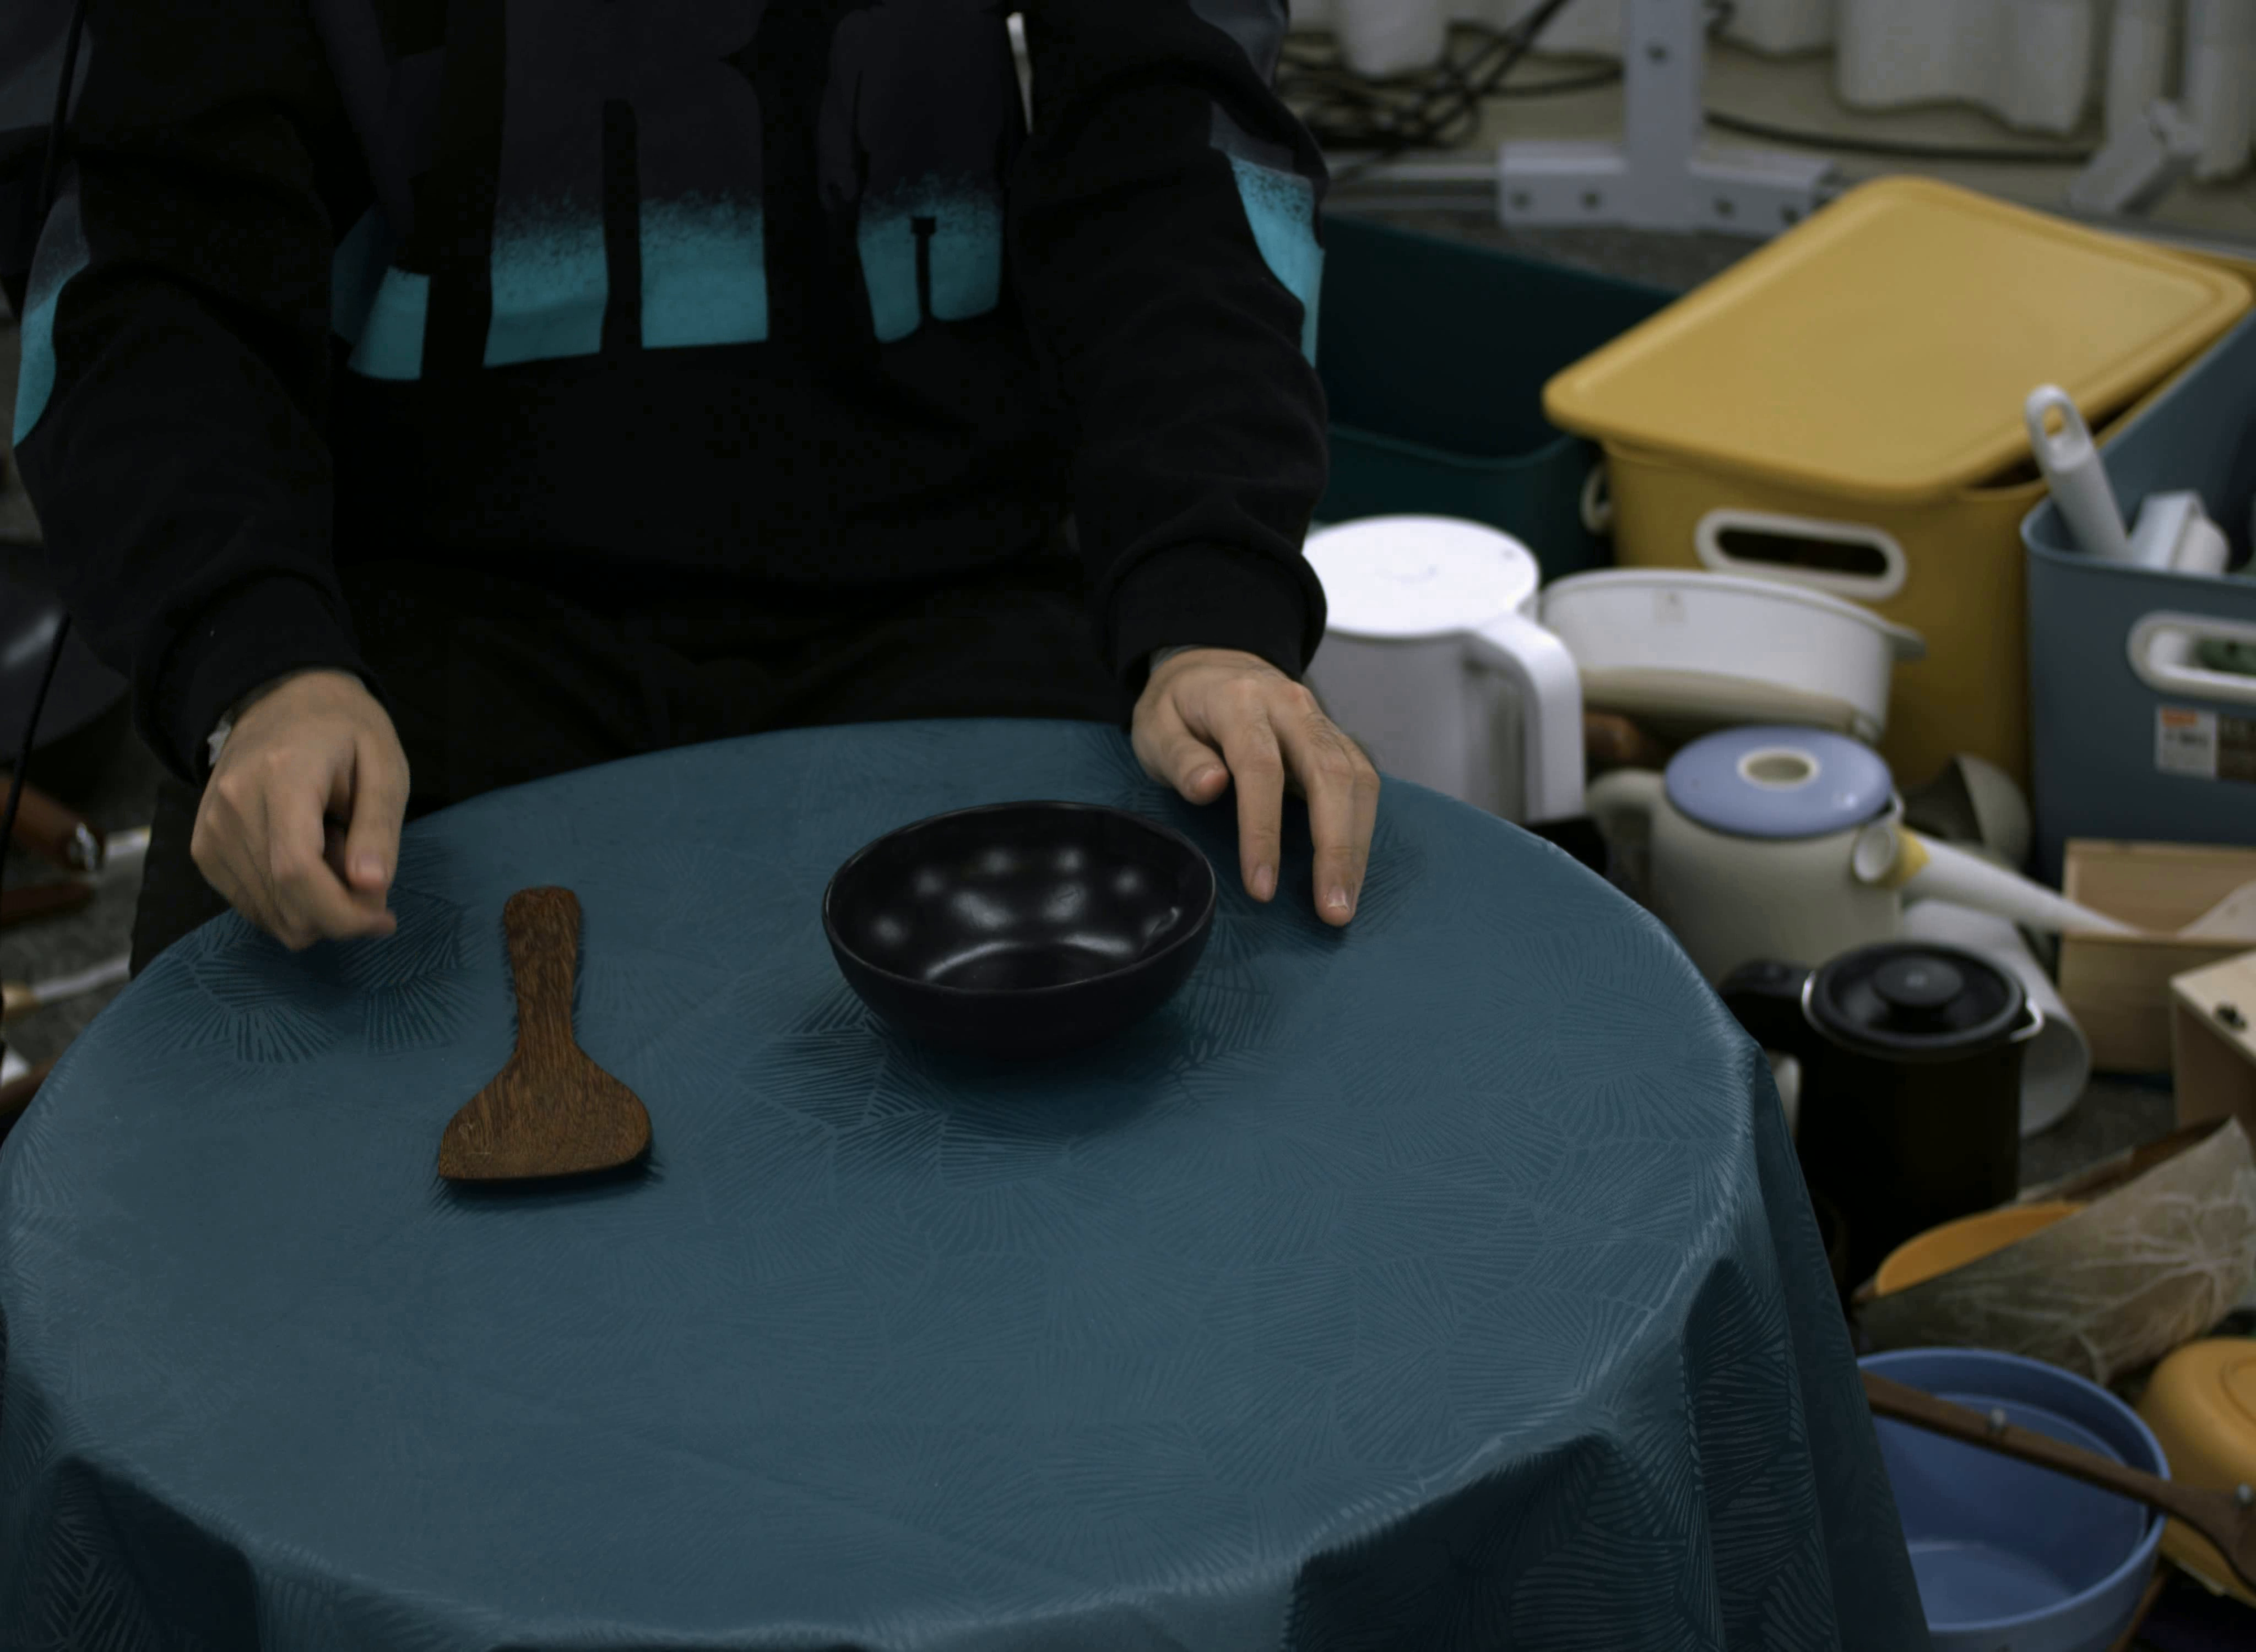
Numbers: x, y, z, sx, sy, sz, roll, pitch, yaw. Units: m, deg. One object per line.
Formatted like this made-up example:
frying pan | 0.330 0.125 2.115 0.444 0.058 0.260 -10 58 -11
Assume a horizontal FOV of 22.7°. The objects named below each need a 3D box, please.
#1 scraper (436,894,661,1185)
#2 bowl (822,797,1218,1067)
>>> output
scraper | -0.203 0.074 1.965 0.075 0.011 0.214 -4 26 -4
bowl | -0.035 0.045 1.960 0.139 0.049 0.142 -4 29 3
